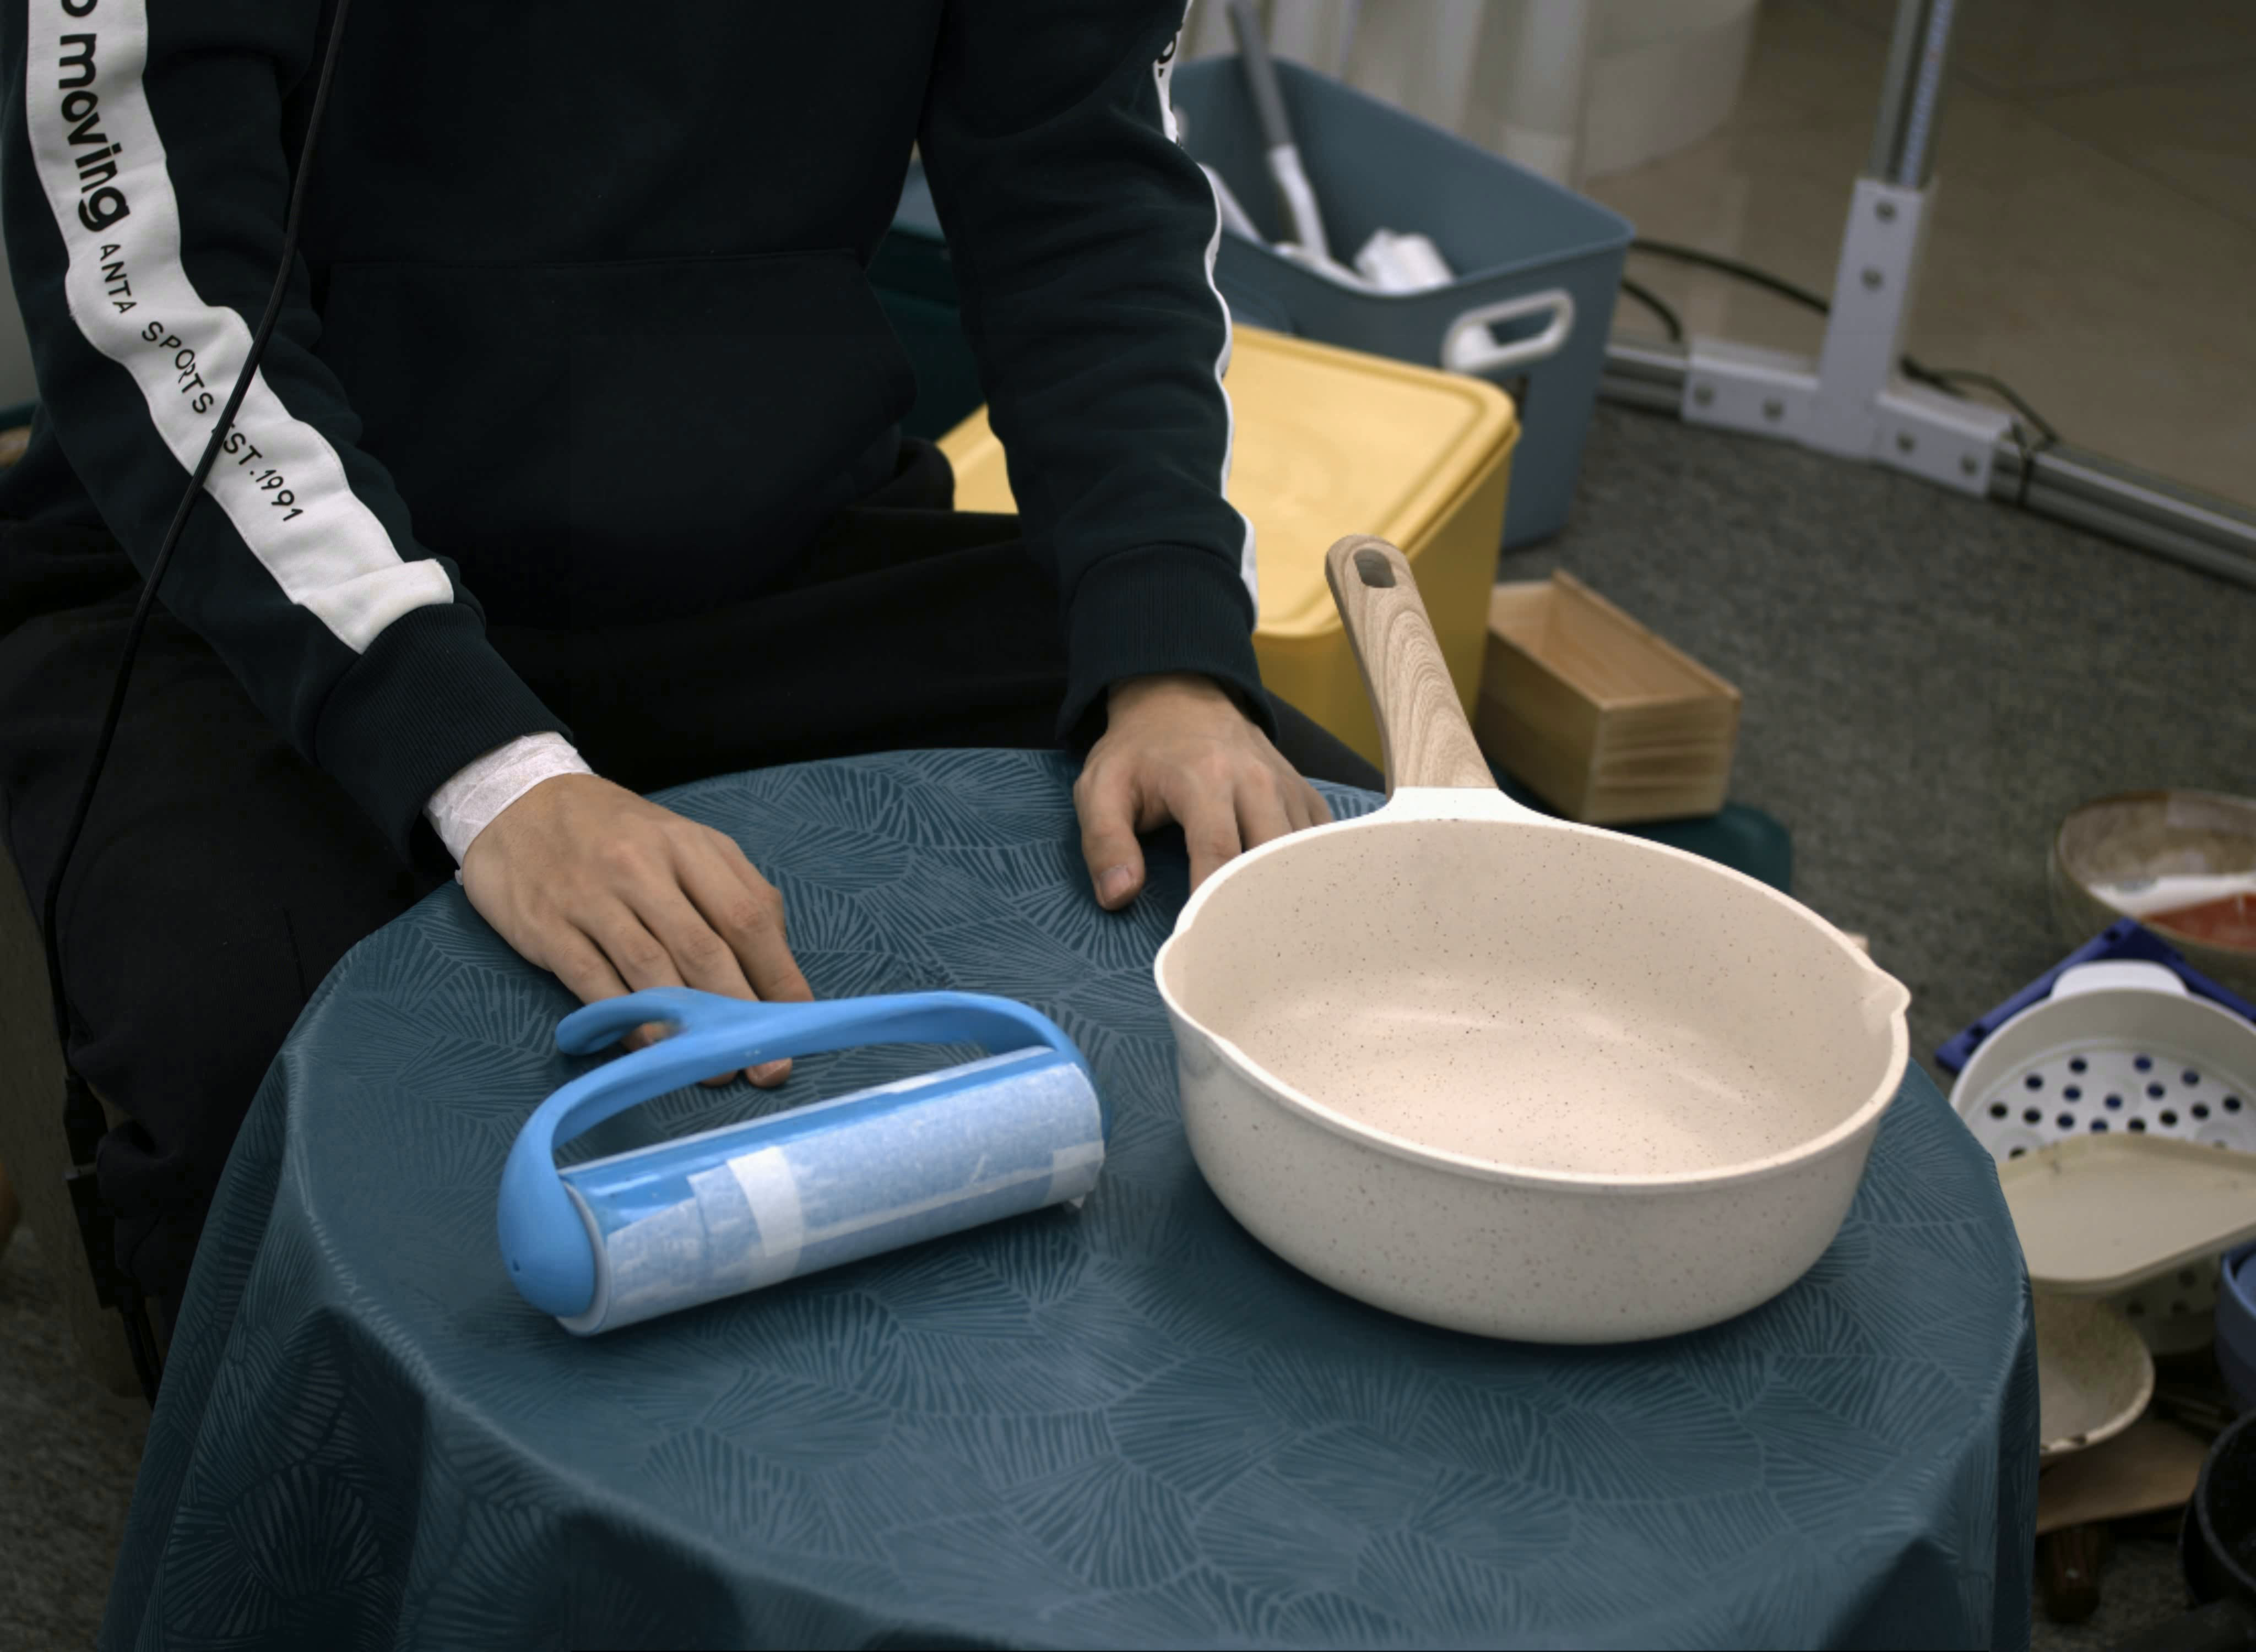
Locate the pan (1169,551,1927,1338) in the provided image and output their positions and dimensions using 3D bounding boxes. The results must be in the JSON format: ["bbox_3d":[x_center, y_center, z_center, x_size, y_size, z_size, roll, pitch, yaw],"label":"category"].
[{"bbox_3d":[0.123,0.039,1.883,0.262,0.101,0.438,-1,27,-11],"label":"pan"}]

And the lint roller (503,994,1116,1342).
[{"bbox_3d":[-0.136,0.091,1.769,0.227,0.067,0.182,-16,36,-35],"label":"lint roller"}]
